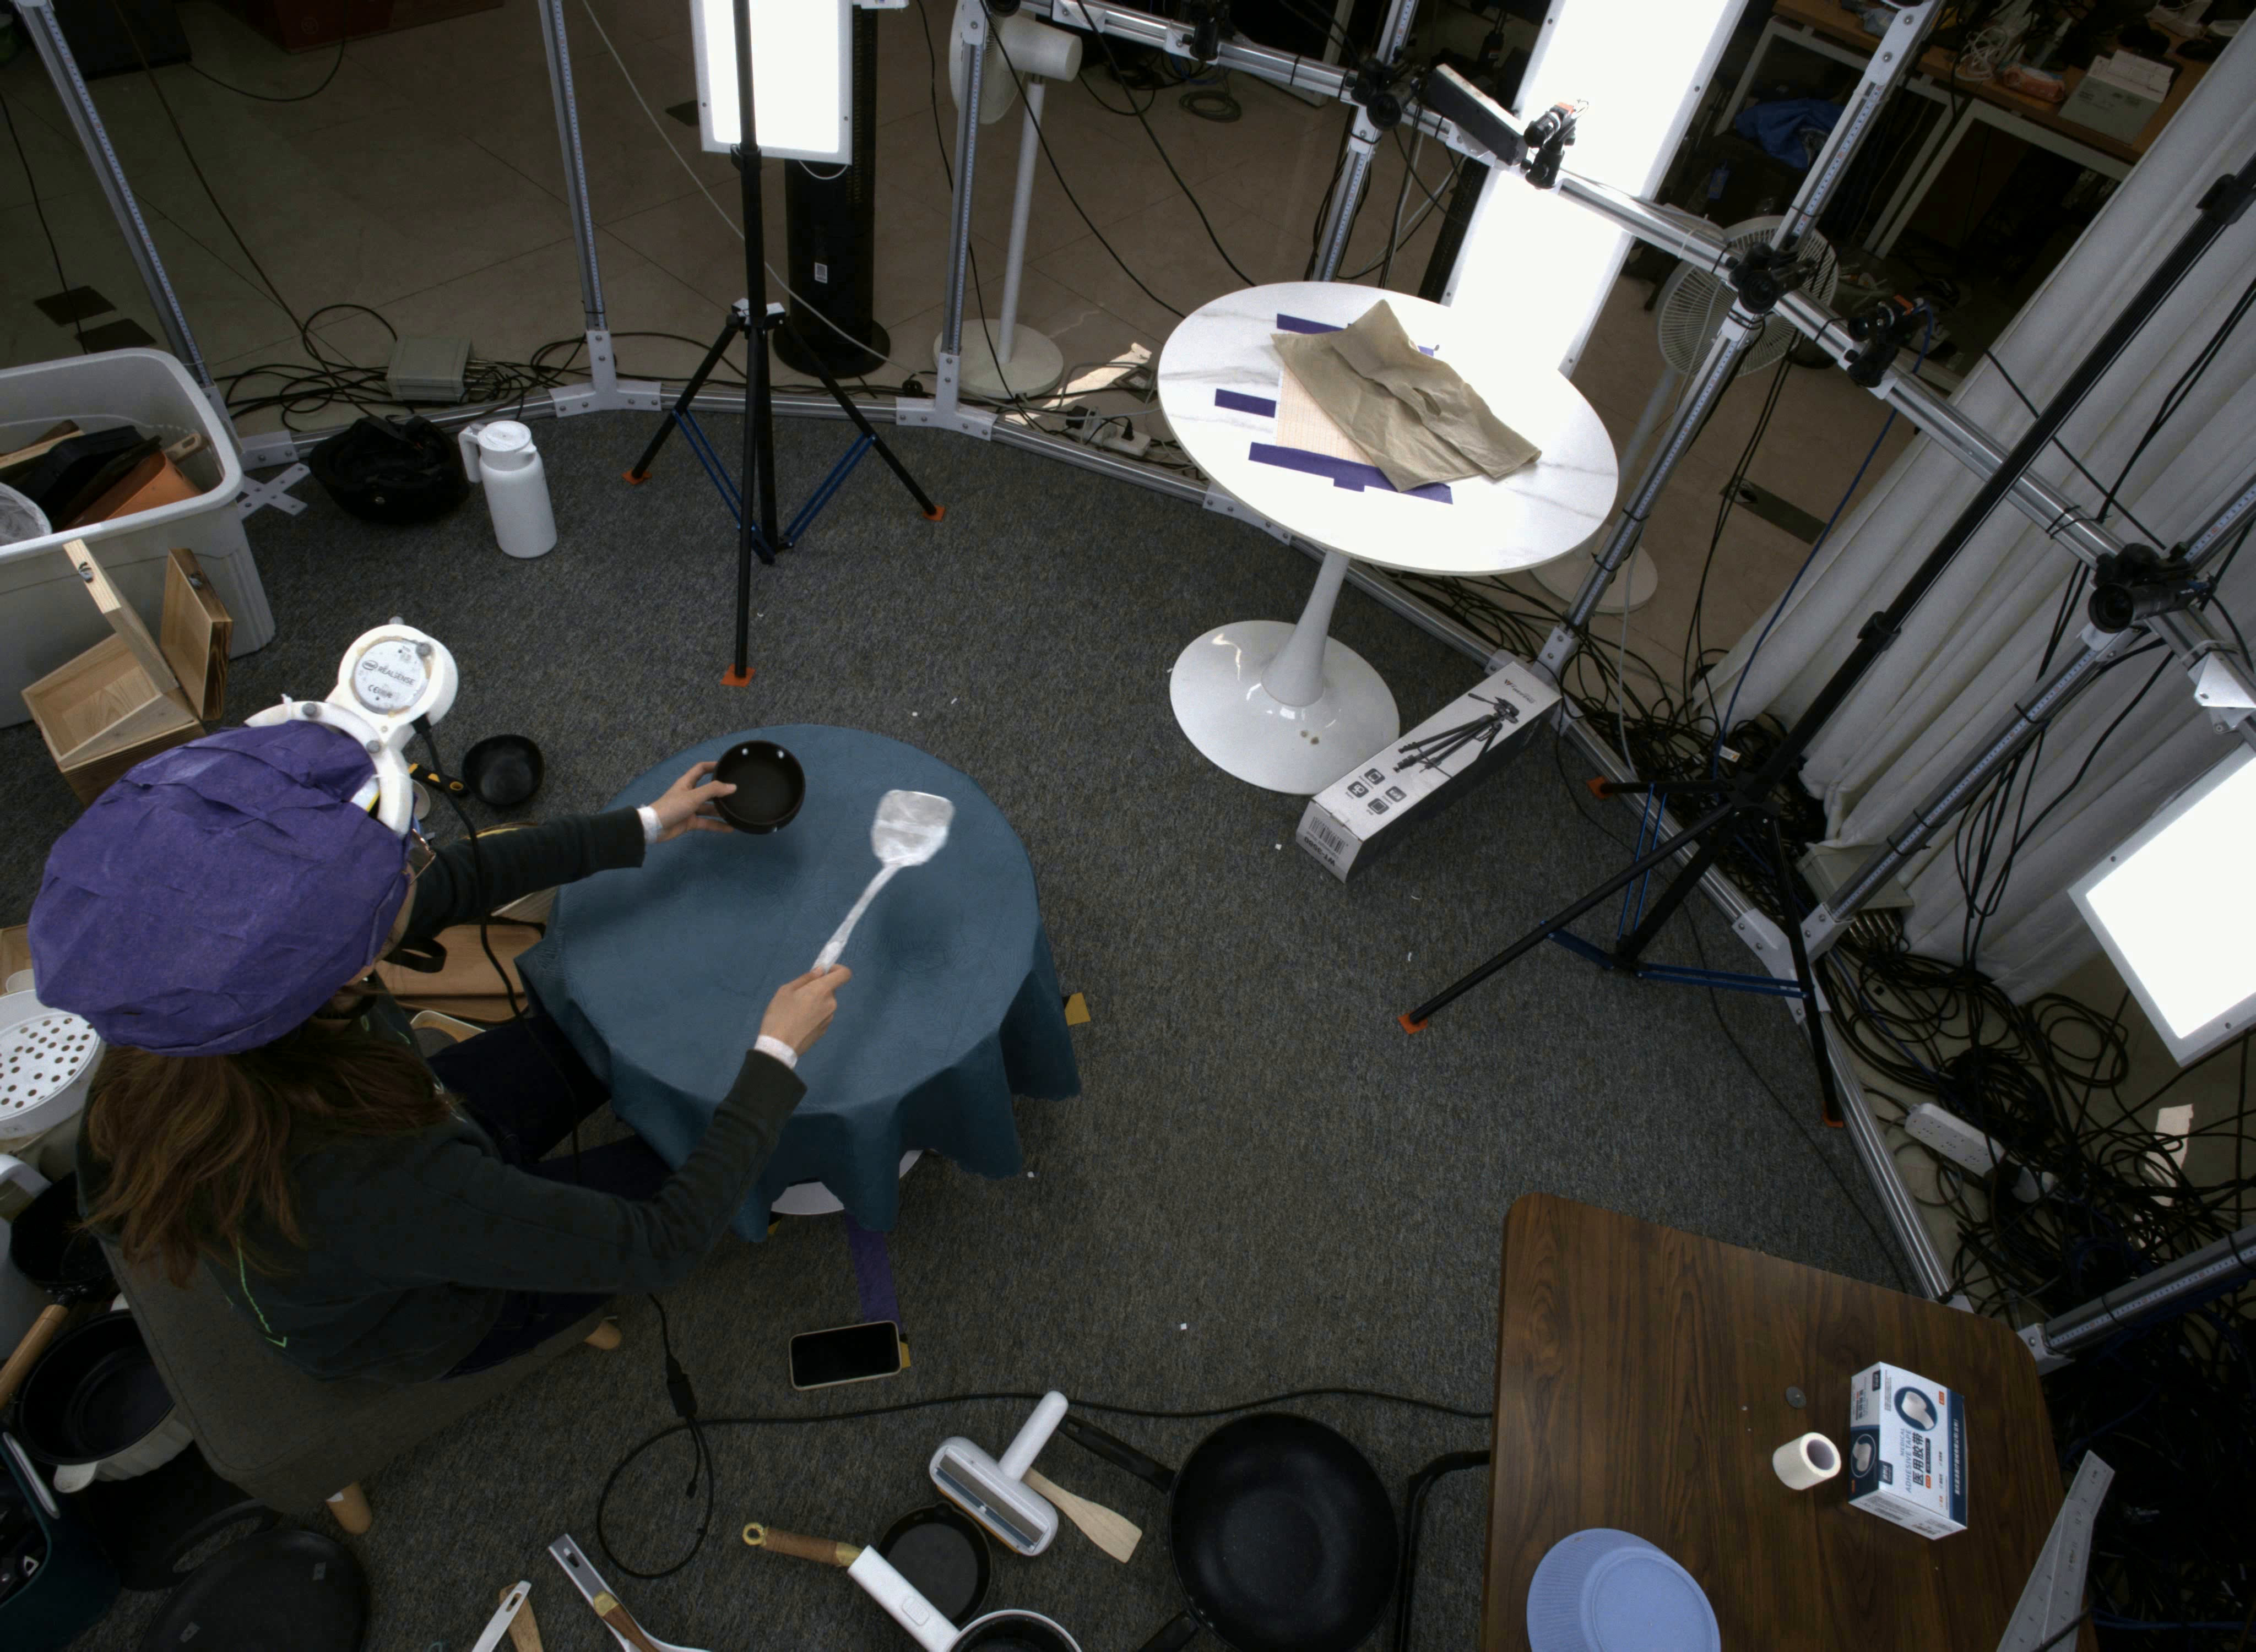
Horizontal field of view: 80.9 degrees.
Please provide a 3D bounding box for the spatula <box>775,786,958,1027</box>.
[{"bbox_3d":[-0.311,0.086,1.513,0.096,0.046,0.362,15,46,14],"label":"spatula"}]

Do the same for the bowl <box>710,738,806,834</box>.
[{"bbox_3d":[-0.470,-0.045,1.643,0.119,0.070,0.117,8,67,-17],"label":"bowl"}]
